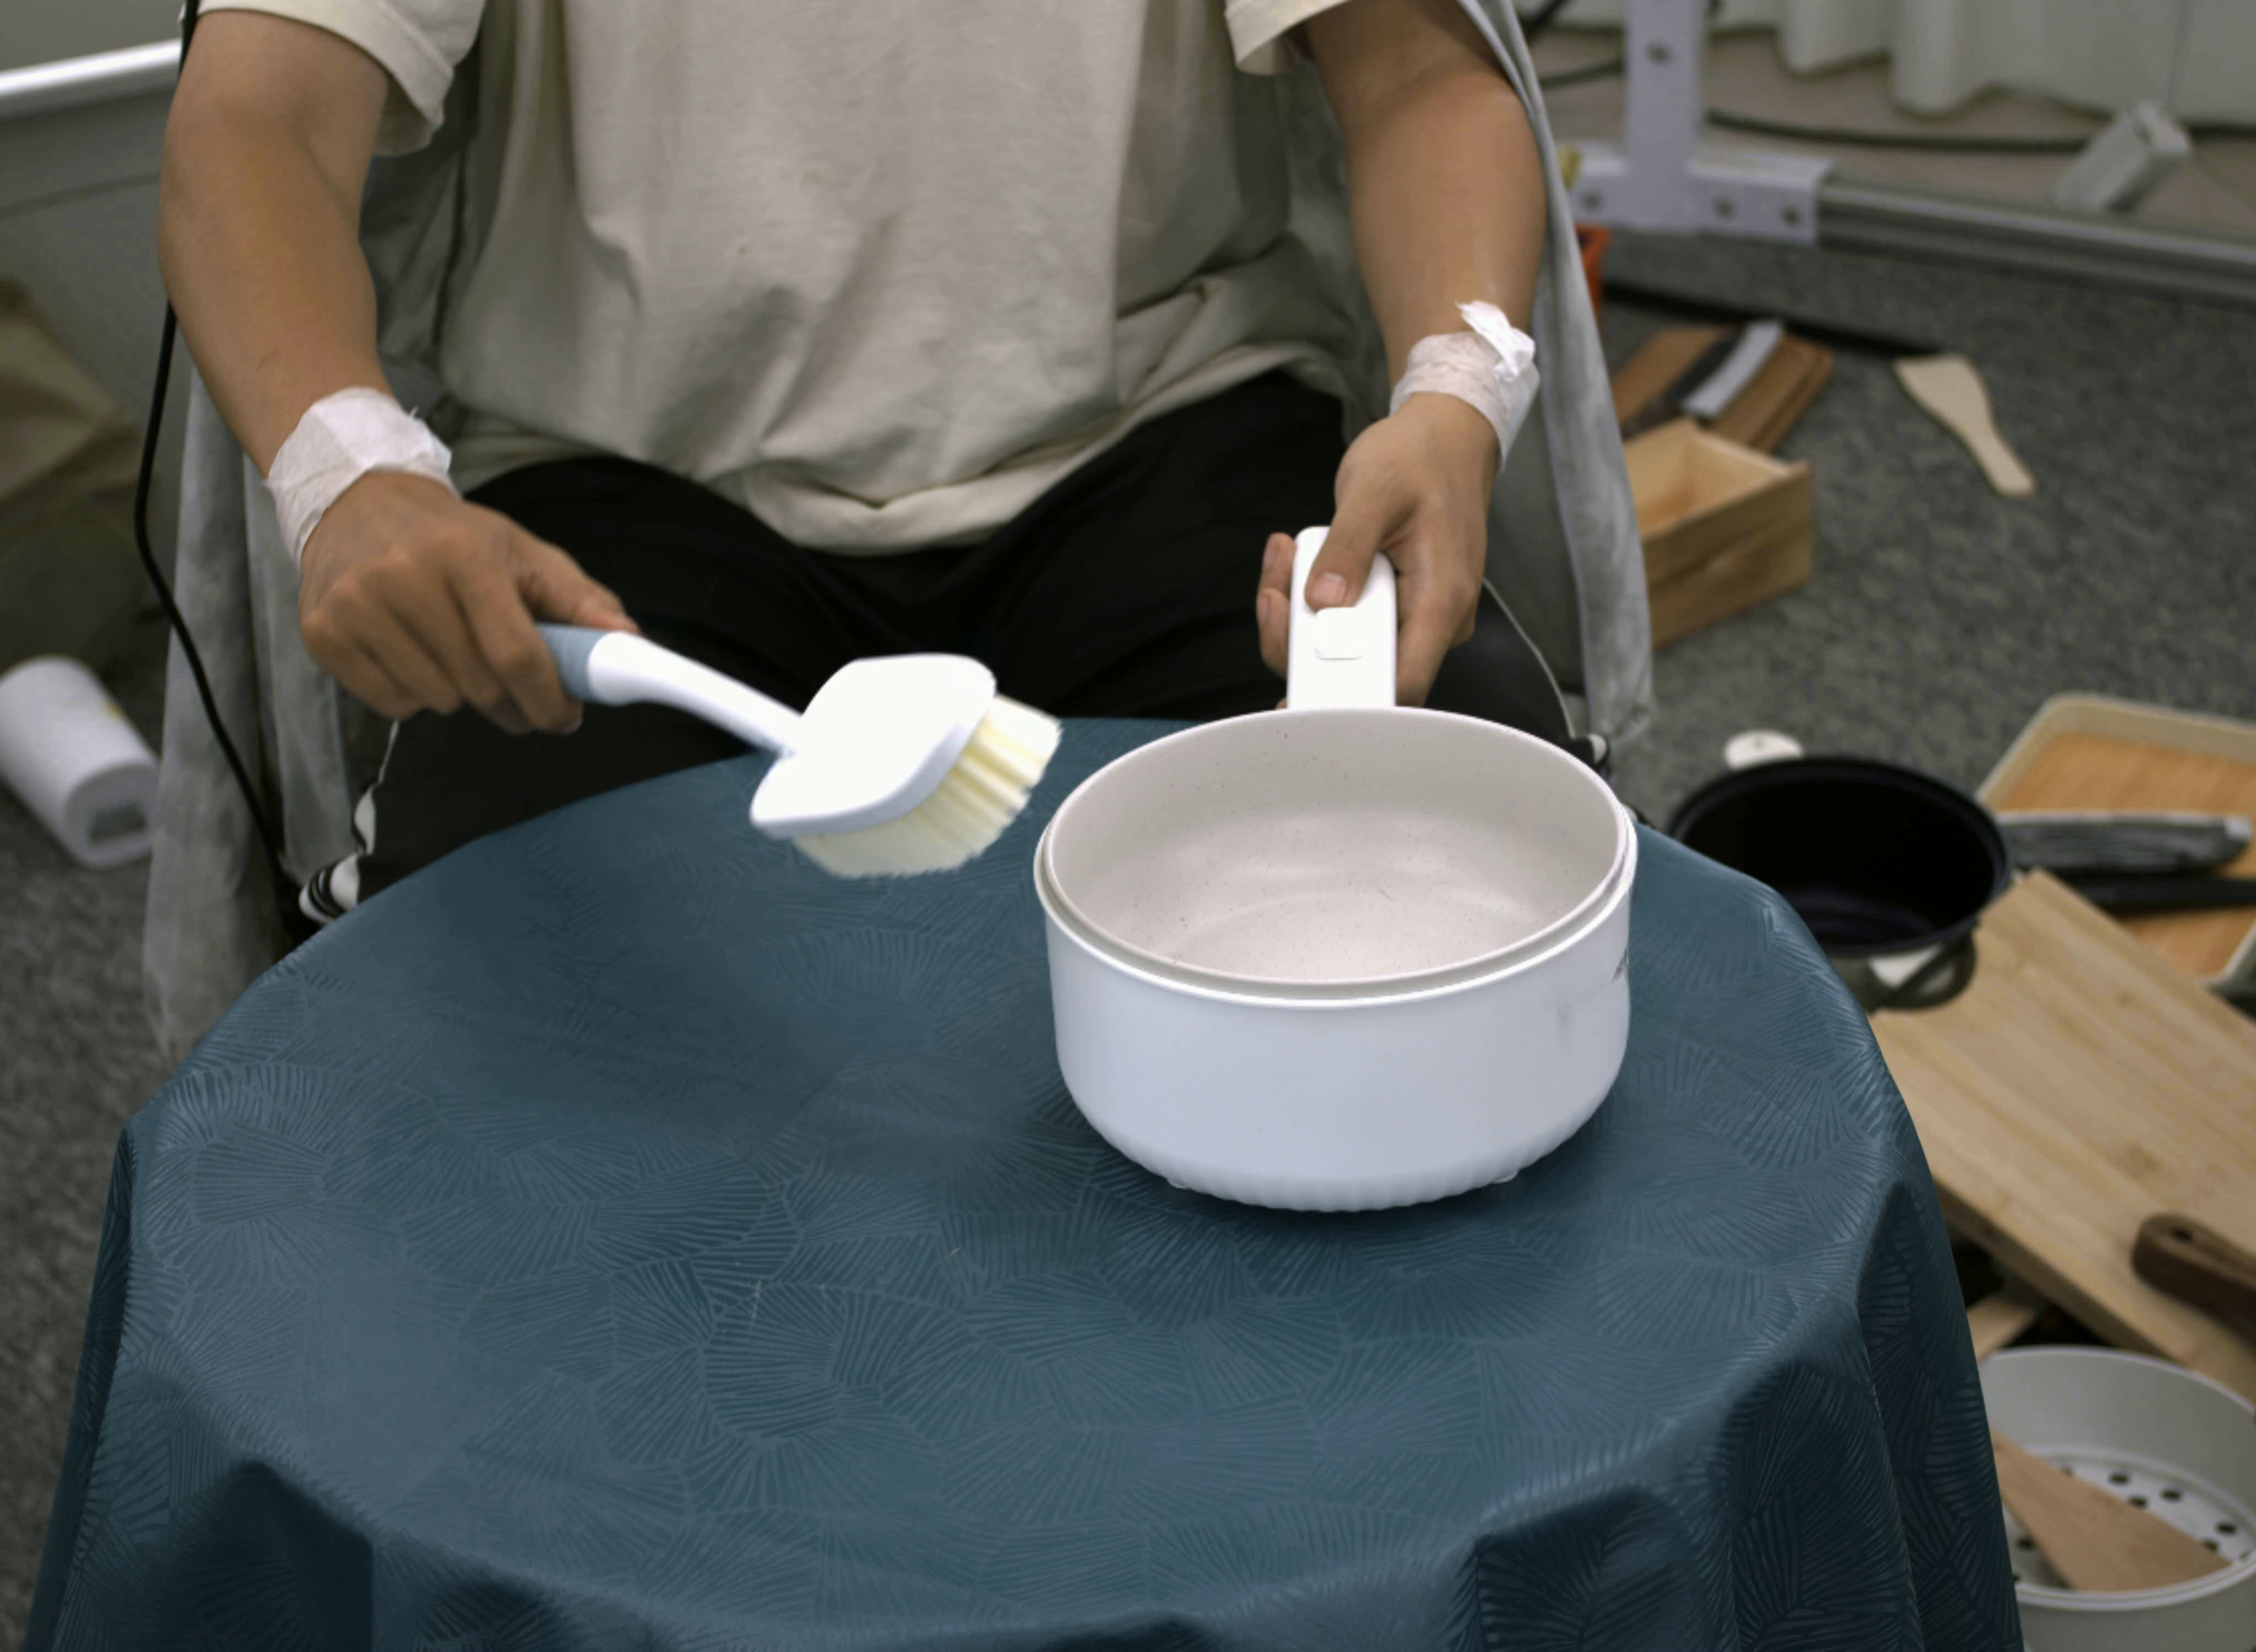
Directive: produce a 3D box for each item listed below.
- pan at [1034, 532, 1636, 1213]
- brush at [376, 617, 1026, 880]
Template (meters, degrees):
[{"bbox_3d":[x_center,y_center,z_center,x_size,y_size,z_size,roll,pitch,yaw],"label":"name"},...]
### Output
[{"bbox_3d":[0.074,0.013,1.956,0.200,0.101,0.360,-2,27,4],"label":"pan"},{"bbox_3d":[-0.138,-0.030,1.908,0.084,0.084,0.323,-19,16,-38],"label":"brush"}]
